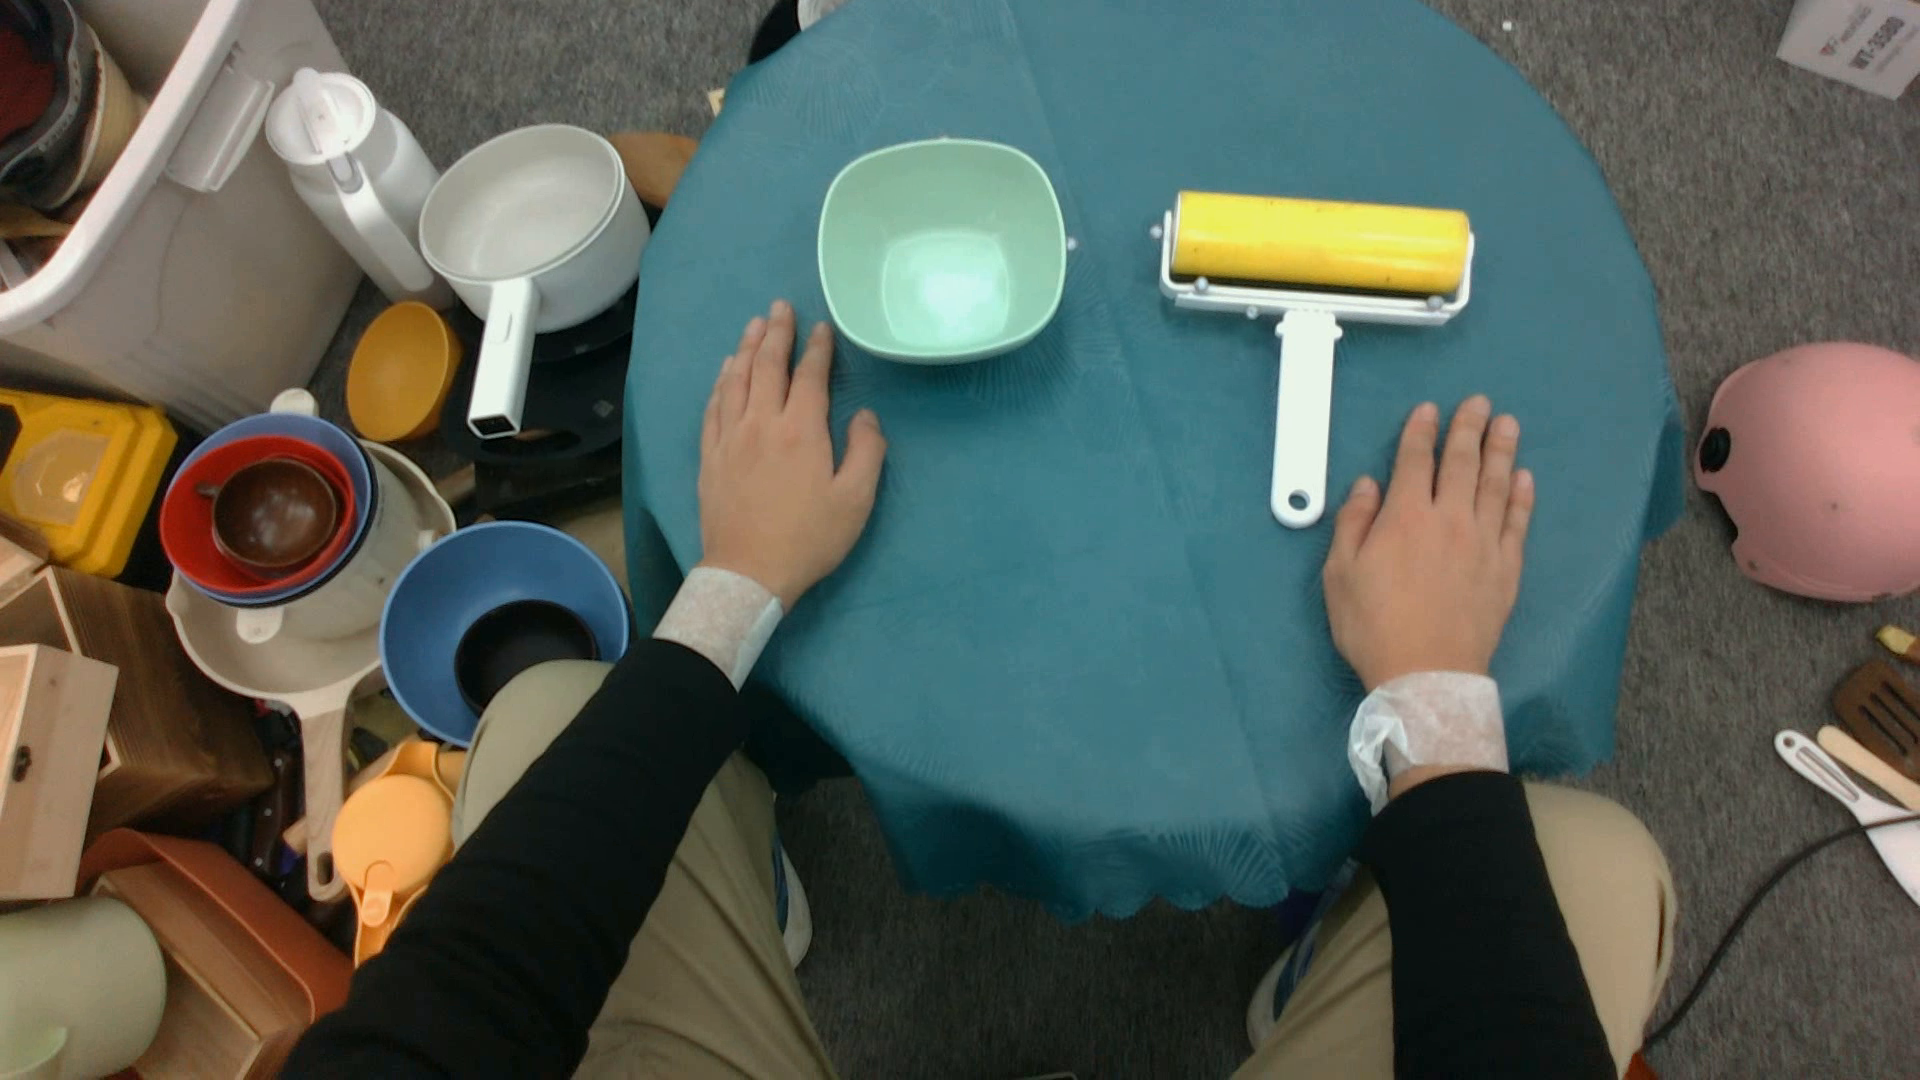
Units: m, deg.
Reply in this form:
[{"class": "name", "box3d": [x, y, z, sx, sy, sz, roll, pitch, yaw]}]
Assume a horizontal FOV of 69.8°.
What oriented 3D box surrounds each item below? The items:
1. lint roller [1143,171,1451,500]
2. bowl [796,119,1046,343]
[{"class": "lint roller", "box3d": [0.189, -0.119, 0.772, 0.174, 0.051, 0.192, 3, 67, 2]}, {"class": "bowl", "box3d": [-0.022, -0.166, 0.789, 0.151, 0.058, 0.152, 0, 70, 0]}]
